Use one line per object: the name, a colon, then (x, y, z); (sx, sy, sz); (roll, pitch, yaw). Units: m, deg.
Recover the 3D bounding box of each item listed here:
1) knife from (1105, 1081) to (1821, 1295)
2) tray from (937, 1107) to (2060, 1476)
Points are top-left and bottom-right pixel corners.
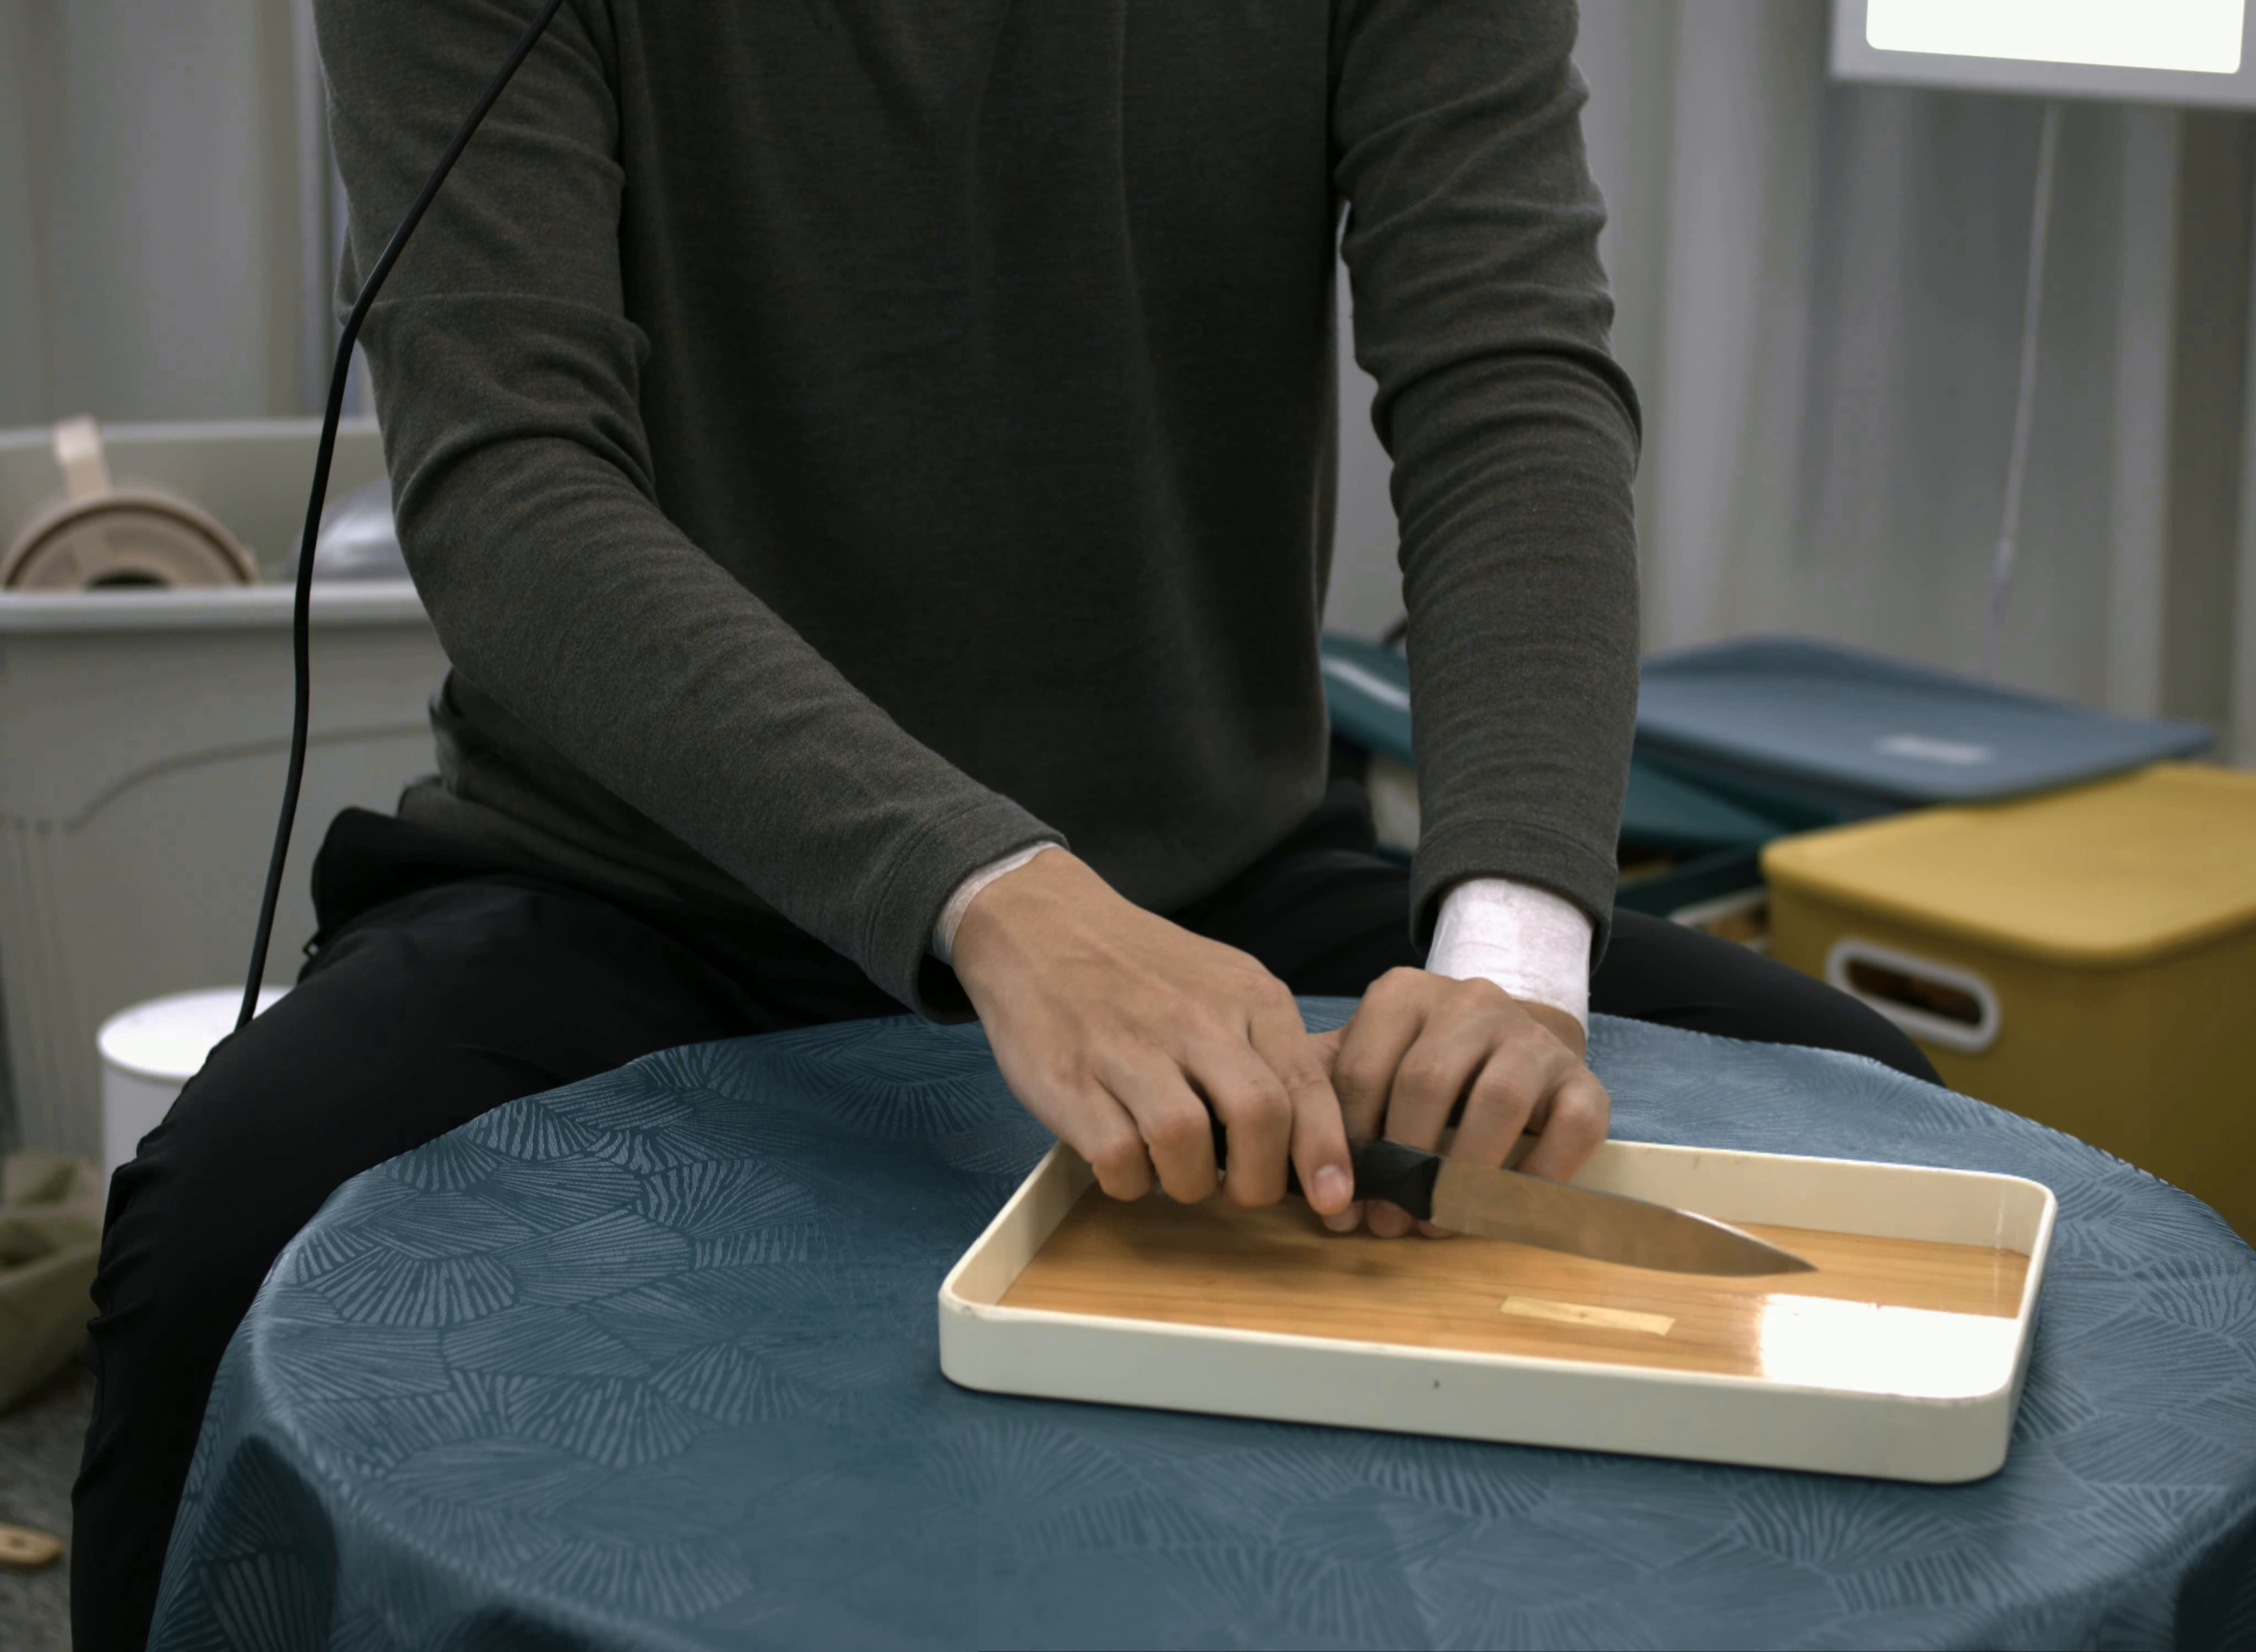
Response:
knife: (0.094, 0.104, 1.521); (0.235, 0.024, 0.016); (12, 17, 31)
tray: (0.110, 0.130, 1.514); (0.298, 0.027, 0.191); (4, 15, 13)
